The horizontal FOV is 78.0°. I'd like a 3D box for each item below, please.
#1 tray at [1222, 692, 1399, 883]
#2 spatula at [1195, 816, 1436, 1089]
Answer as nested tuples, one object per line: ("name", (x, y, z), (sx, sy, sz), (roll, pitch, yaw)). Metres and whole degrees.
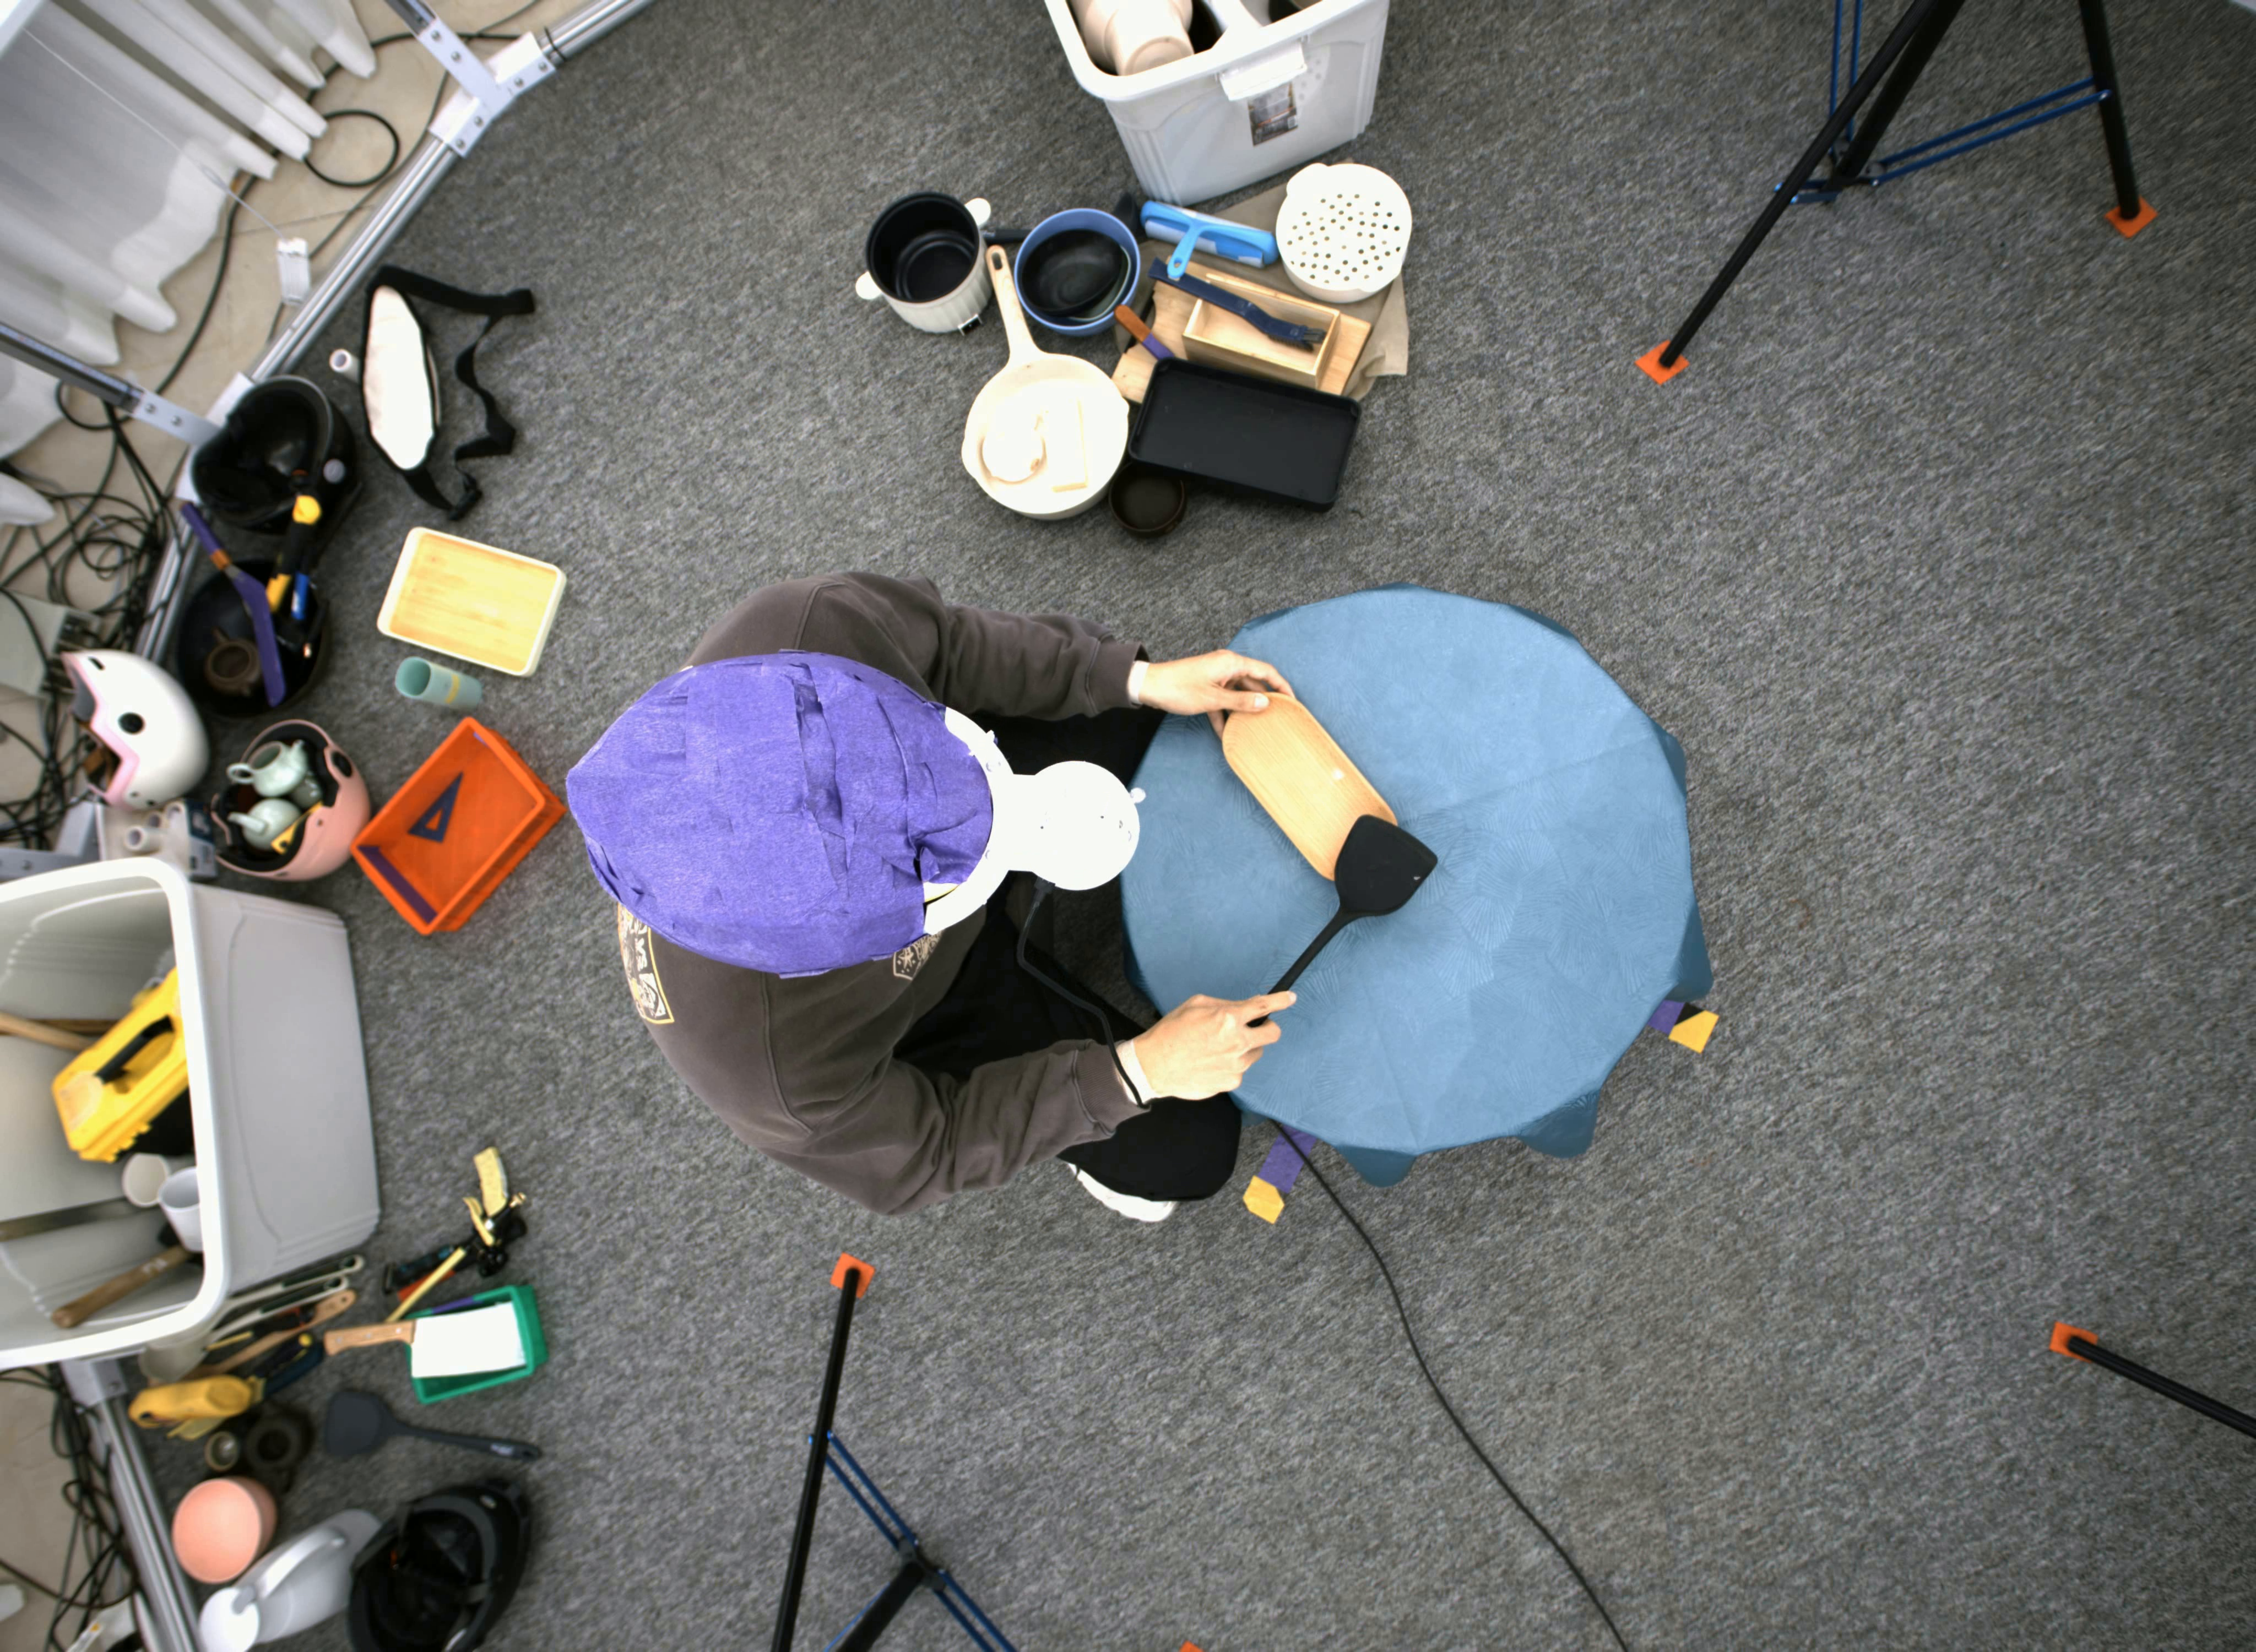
("tray", (0.191, -0.041, 1.451), (0.102, 0.020, 0.230), (-40, 85, 11))
("spatula", (0.171, 0.128, 1.353), (0.099, 0.041, 0.323), (35, 75, 33))
